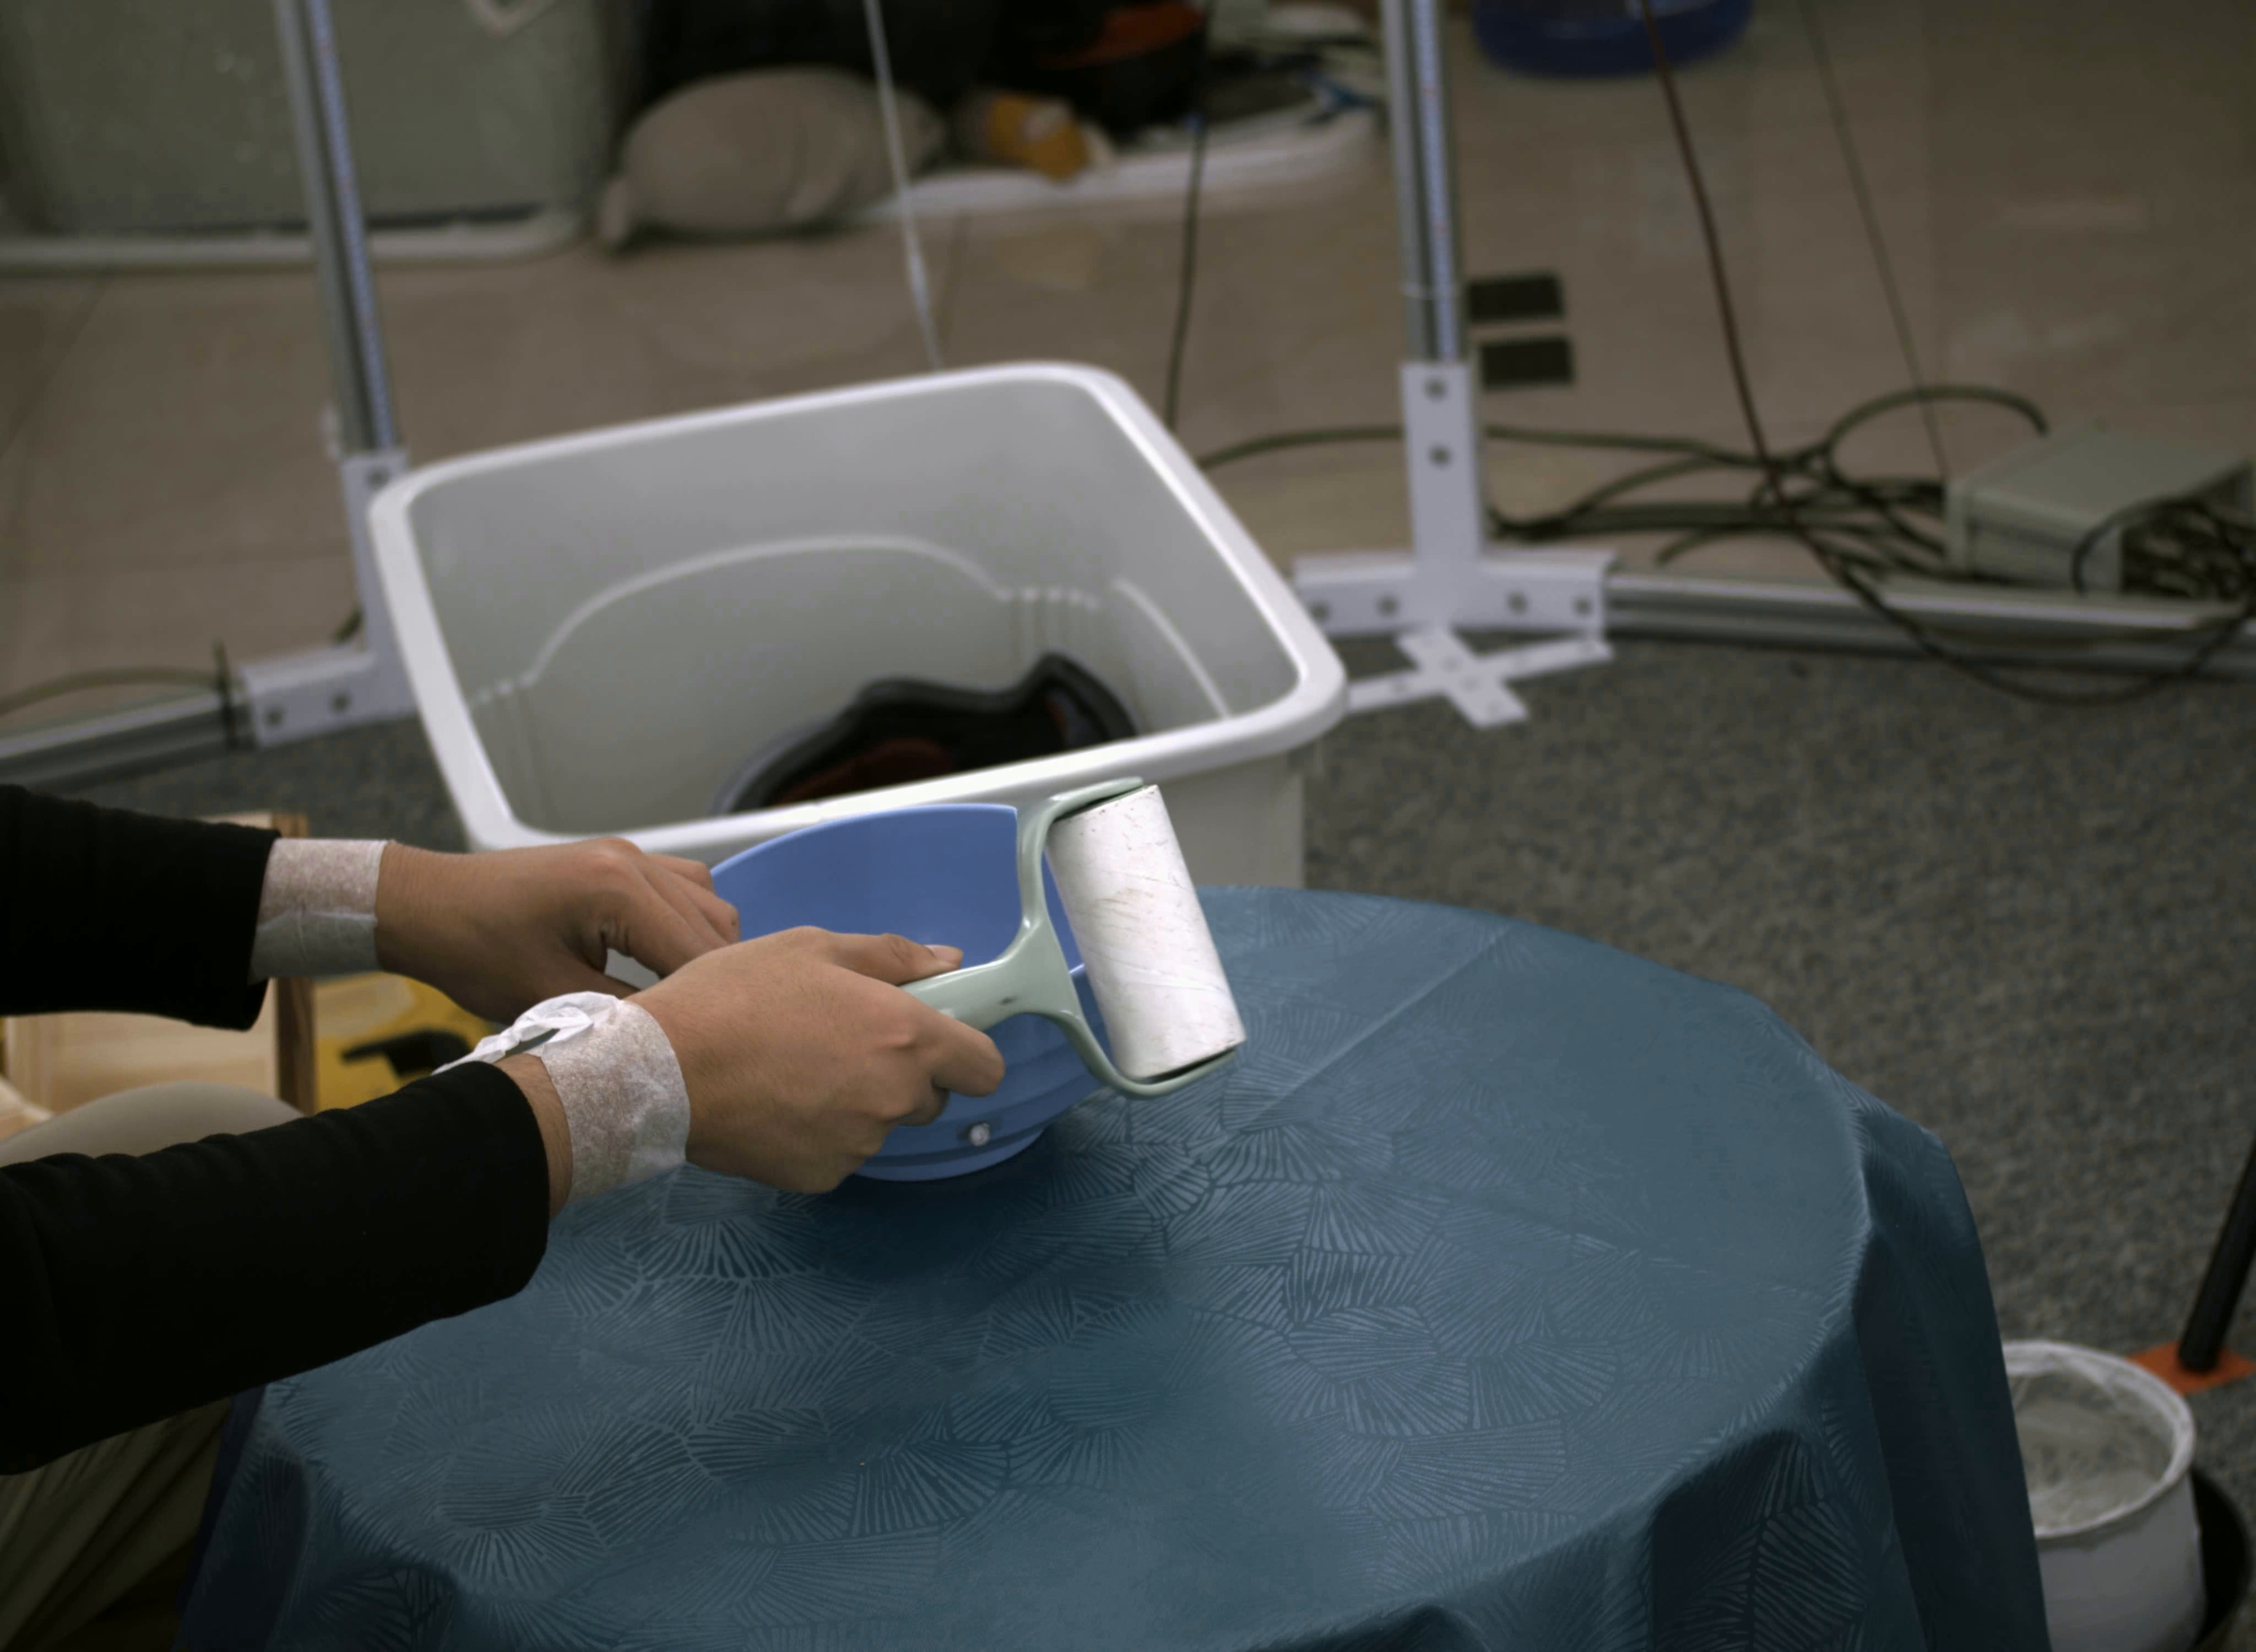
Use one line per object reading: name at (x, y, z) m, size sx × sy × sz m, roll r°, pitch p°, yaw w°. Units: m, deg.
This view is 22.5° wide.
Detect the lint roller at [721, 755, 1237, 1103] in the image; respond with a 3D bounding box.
lint roller at (-0.057, 0.054, 2.034) m, size 0.196 × 0.117 × 0.048 m, roll -21°, pitch 6°, yaw -31°

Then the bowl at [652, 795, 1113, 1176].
bowl at (-0.081, 0.073, 2.192) m, size 0.196 × 0.097 × 0.193 m, roll -5°, pitch 27°, yaw 3°
